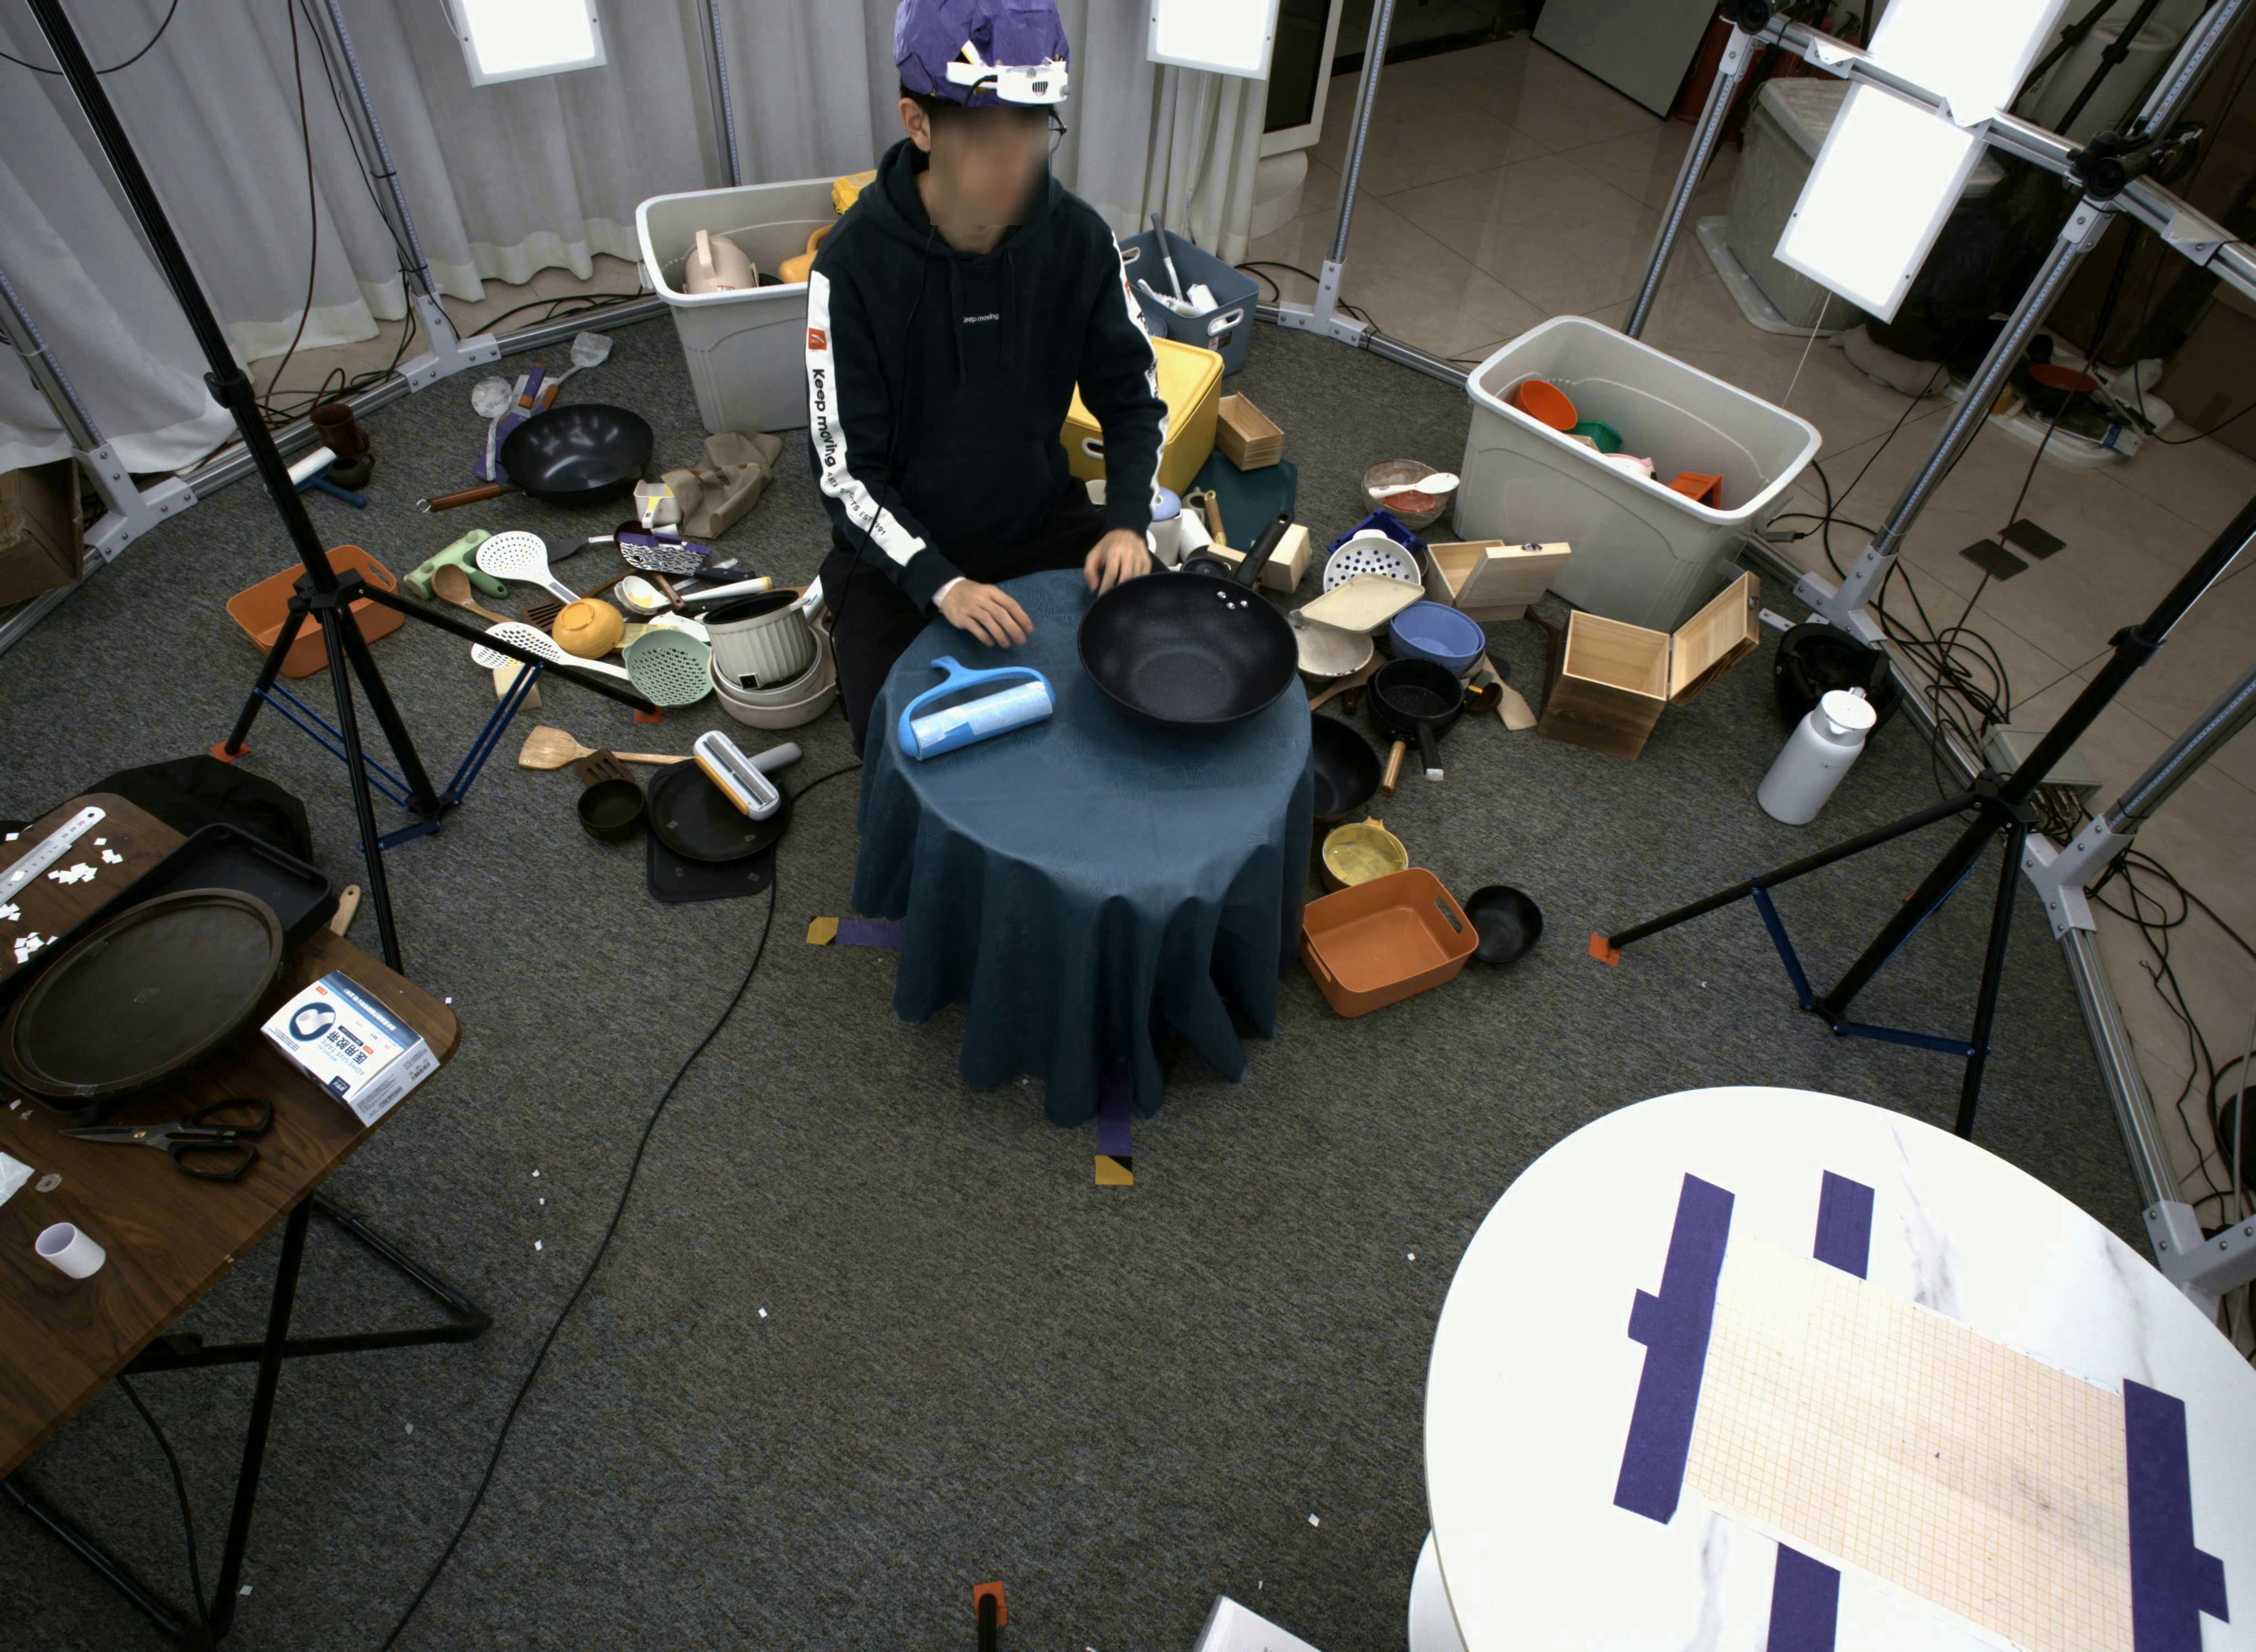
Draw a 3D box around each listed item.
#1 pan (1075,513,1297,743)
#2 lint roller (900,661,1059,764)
[{"bbox_3d":[0.121,-0.284,1.854,0.312,0.109,0.484,26,53,15],"label":"pan"},{"bbox_3d":[-0.229,-0.183,1.776,0.230,0.066,0.184,-25,56,-20],"label":"lint roller"}]
